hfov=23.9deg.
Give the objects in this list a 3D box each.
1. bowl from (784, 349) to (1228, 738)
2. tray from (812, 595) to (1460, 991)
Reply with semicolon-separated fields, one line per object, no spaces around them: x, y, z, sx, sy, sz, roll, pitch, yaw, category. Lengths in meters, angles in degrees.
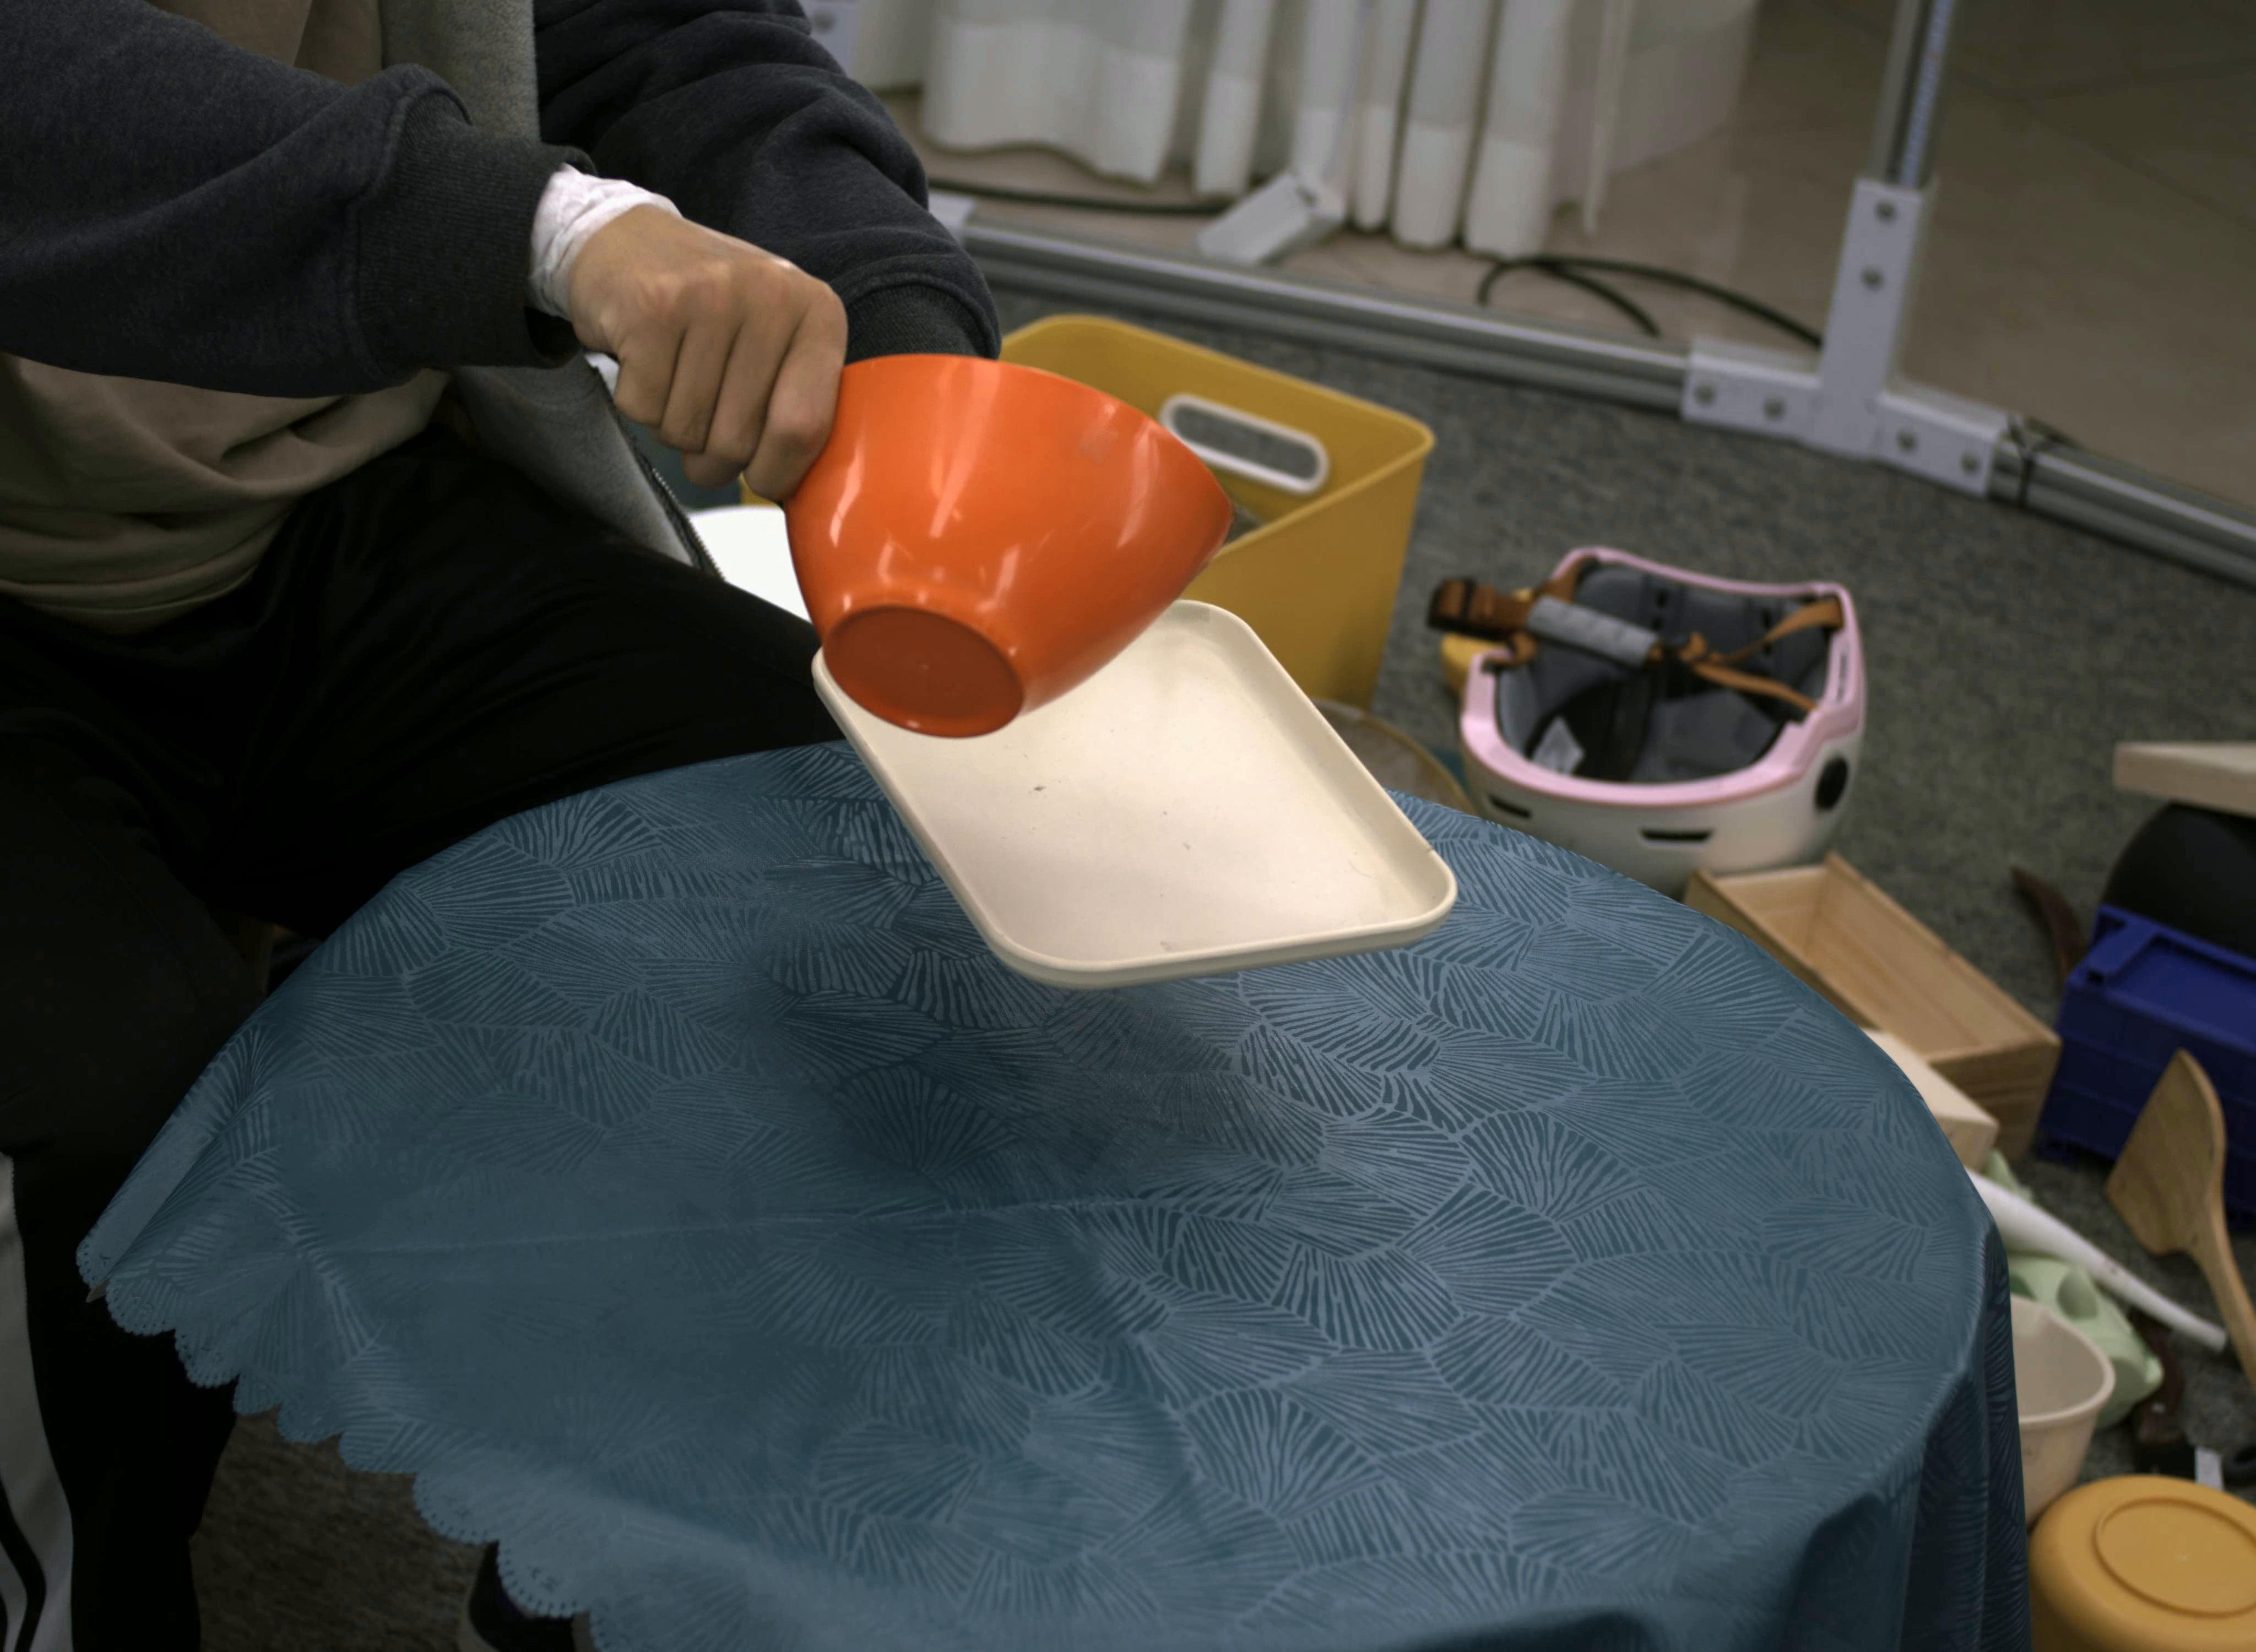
-0.050;-0.081;1.714;0.148;0.147;0.105;13;54;10;bowl
-0.001;-0.013;1.859;0.170;0.017;0.242;-8;32;-20;tray
